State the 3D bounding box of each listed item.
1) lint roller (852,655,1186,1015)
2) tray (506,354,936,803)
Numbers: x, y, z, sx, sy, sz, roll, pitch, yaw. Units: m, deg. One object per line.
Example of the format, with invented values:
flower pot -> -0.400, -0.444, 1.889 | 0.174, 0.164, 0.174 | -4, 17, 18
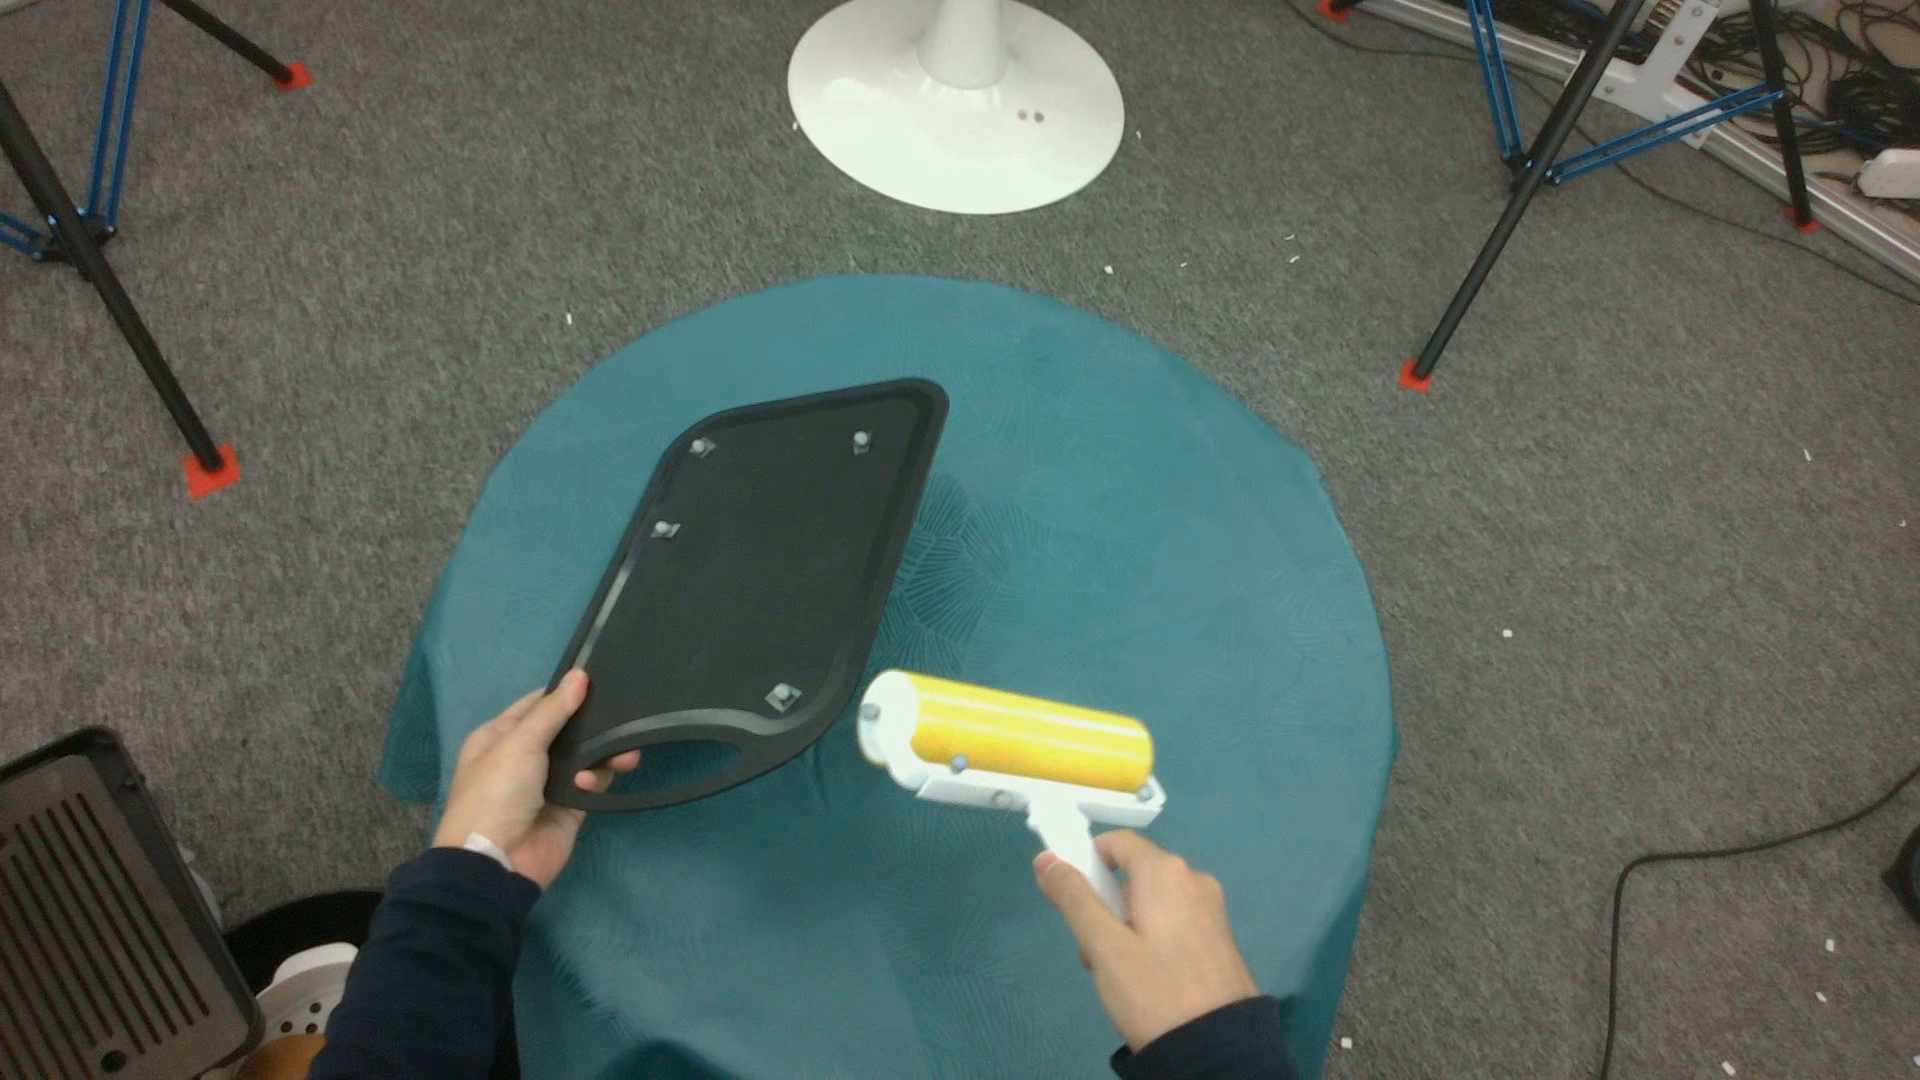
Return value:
lint roller -> 0.056, 0.133, 0.649 | 0.174, 0.051, 0.192 | 15, 22, -39
tray -> -0.131, 0.009, 0.778 | 0.210, 0.010, 0.327 | -9, 42, 25
